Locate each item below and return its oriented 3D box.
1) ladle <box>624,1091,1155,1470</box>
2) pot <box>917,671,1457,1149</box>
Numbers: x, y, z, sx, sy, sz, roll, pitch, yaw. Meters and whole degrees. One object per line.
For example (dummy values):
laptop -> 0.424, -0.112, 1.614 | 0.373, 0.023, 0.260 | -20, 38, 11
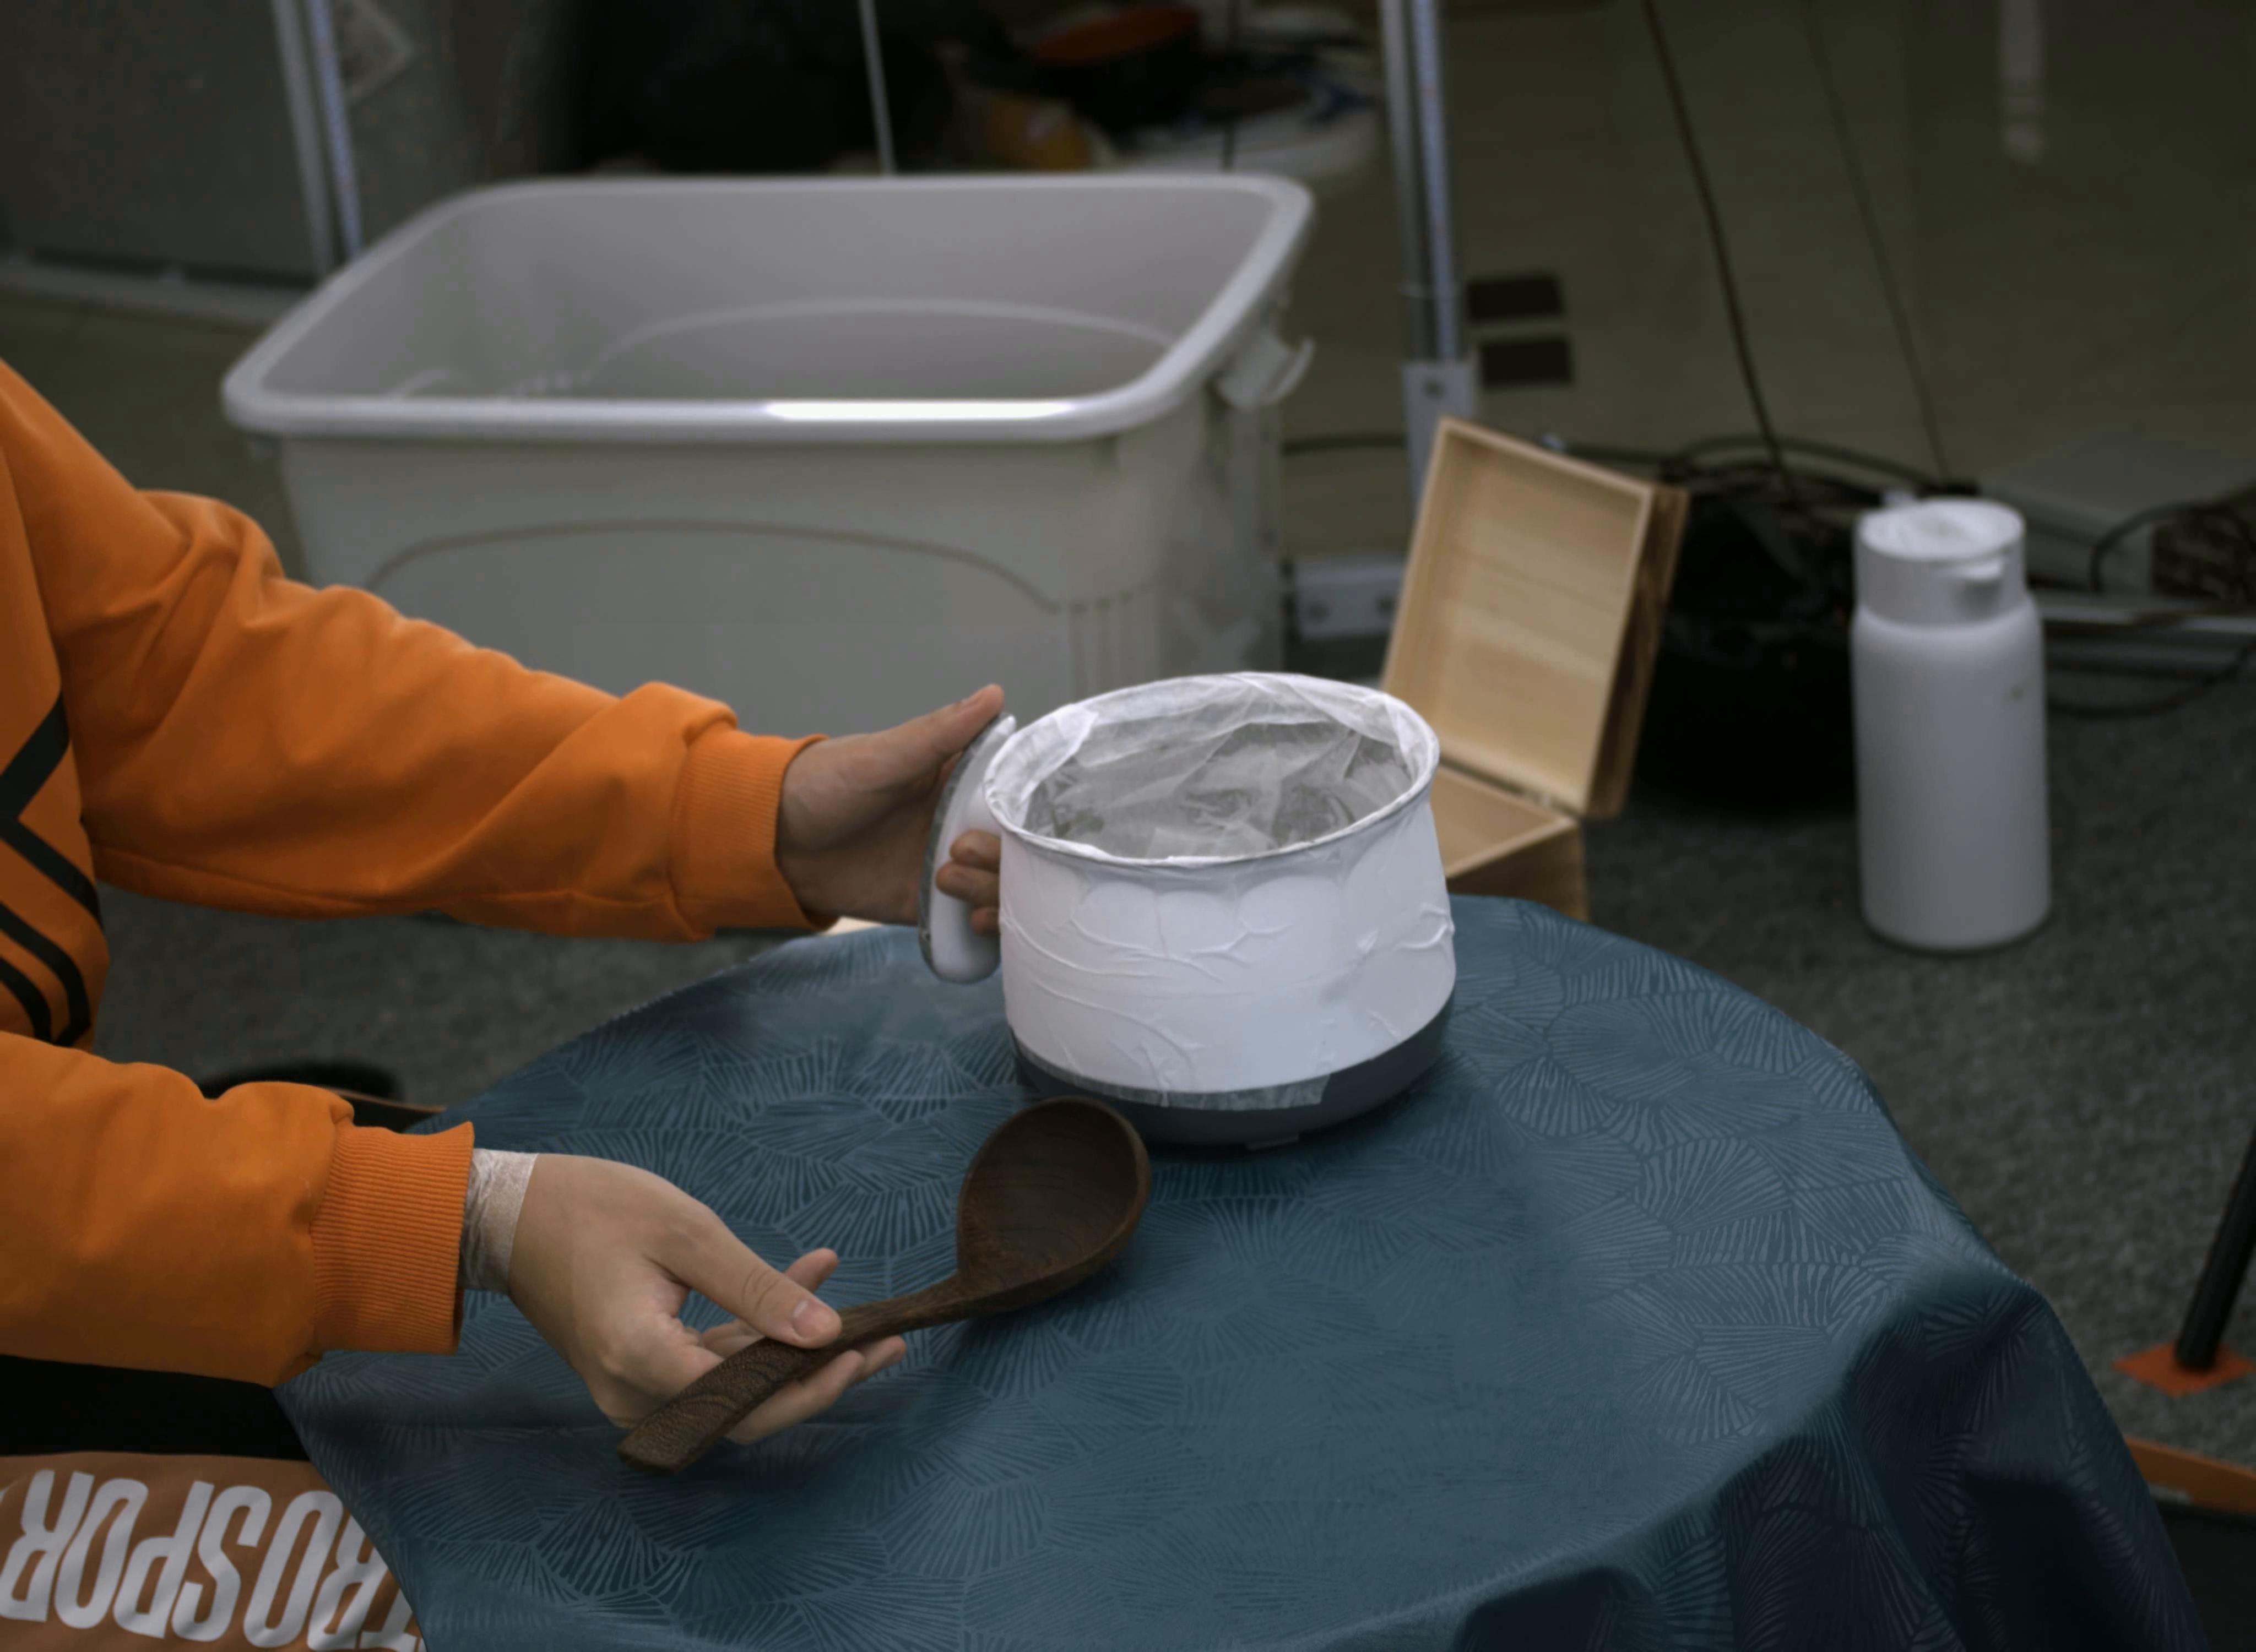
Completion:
ladle -> -0.085, 0.156, 2.005 | 0.075, 0.072, 0.272 | 10, 17, 33
pot -> 0.014, 0.029, 2.211 | 0.232, 0.139, 0.177 | 11, 29, 31
